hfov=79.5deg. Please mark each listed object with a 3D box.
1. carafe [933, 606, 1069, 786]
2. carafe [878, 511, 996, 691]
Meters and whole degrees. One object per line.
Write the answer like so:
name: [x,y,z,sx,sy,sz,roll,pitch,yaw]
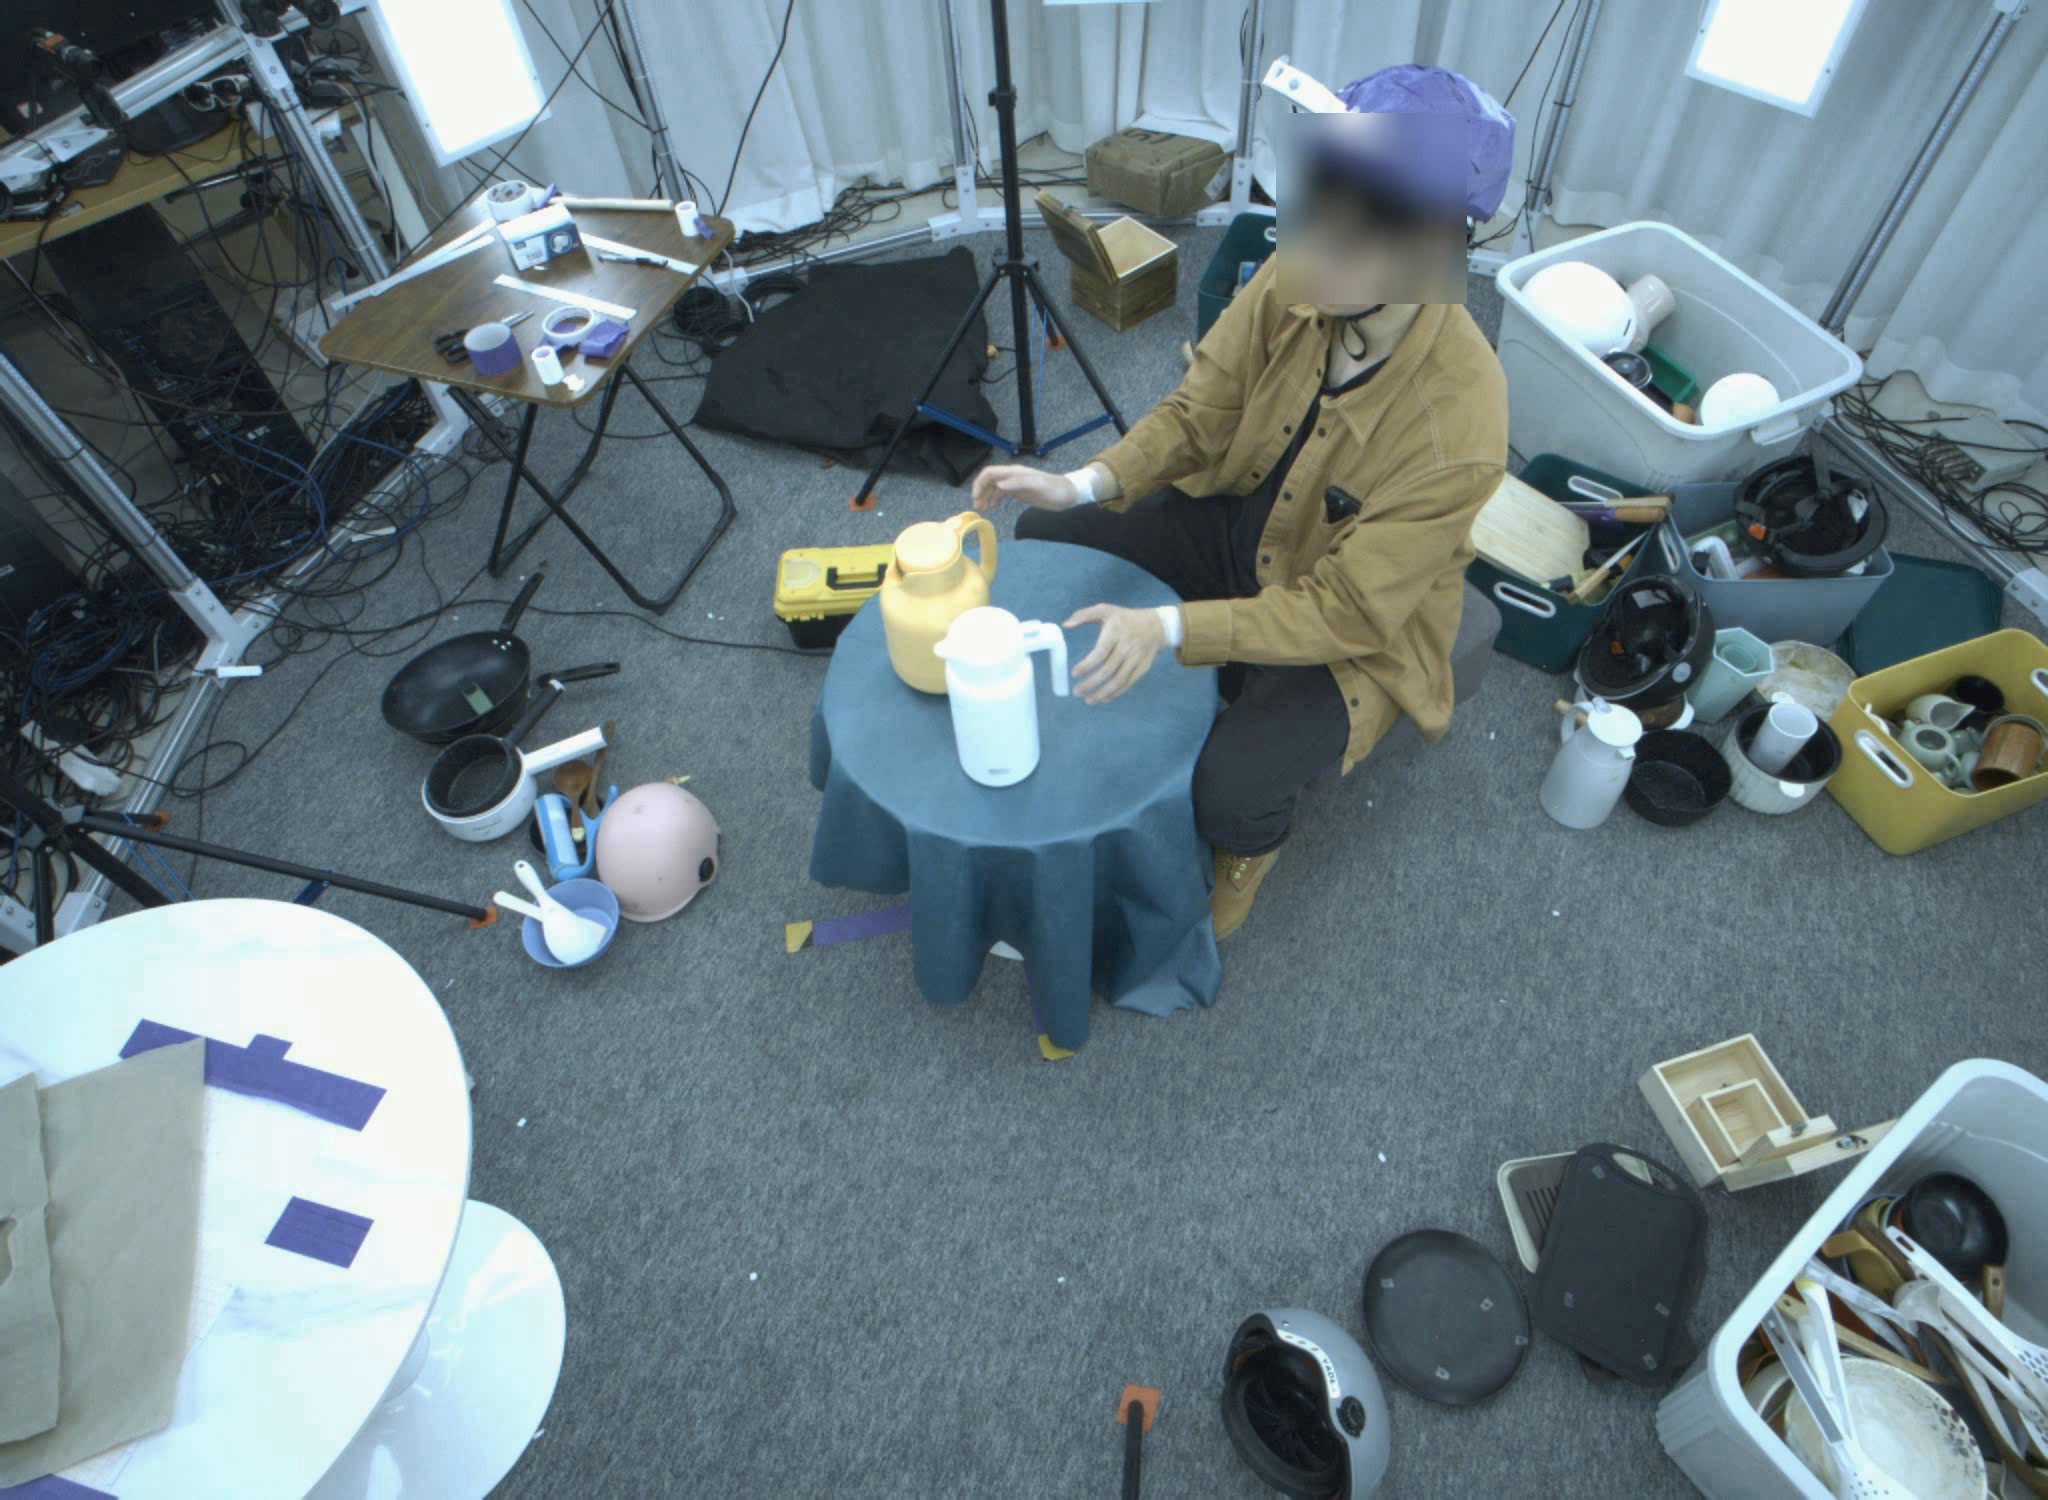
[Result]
carafe: [-0.026,-0.074,1.671,0.173,0.272,0.122,-13,52,-6]
carafe: [-0.116,-0.224,1.784,0.161,0.263,0.203,38,66,23]
